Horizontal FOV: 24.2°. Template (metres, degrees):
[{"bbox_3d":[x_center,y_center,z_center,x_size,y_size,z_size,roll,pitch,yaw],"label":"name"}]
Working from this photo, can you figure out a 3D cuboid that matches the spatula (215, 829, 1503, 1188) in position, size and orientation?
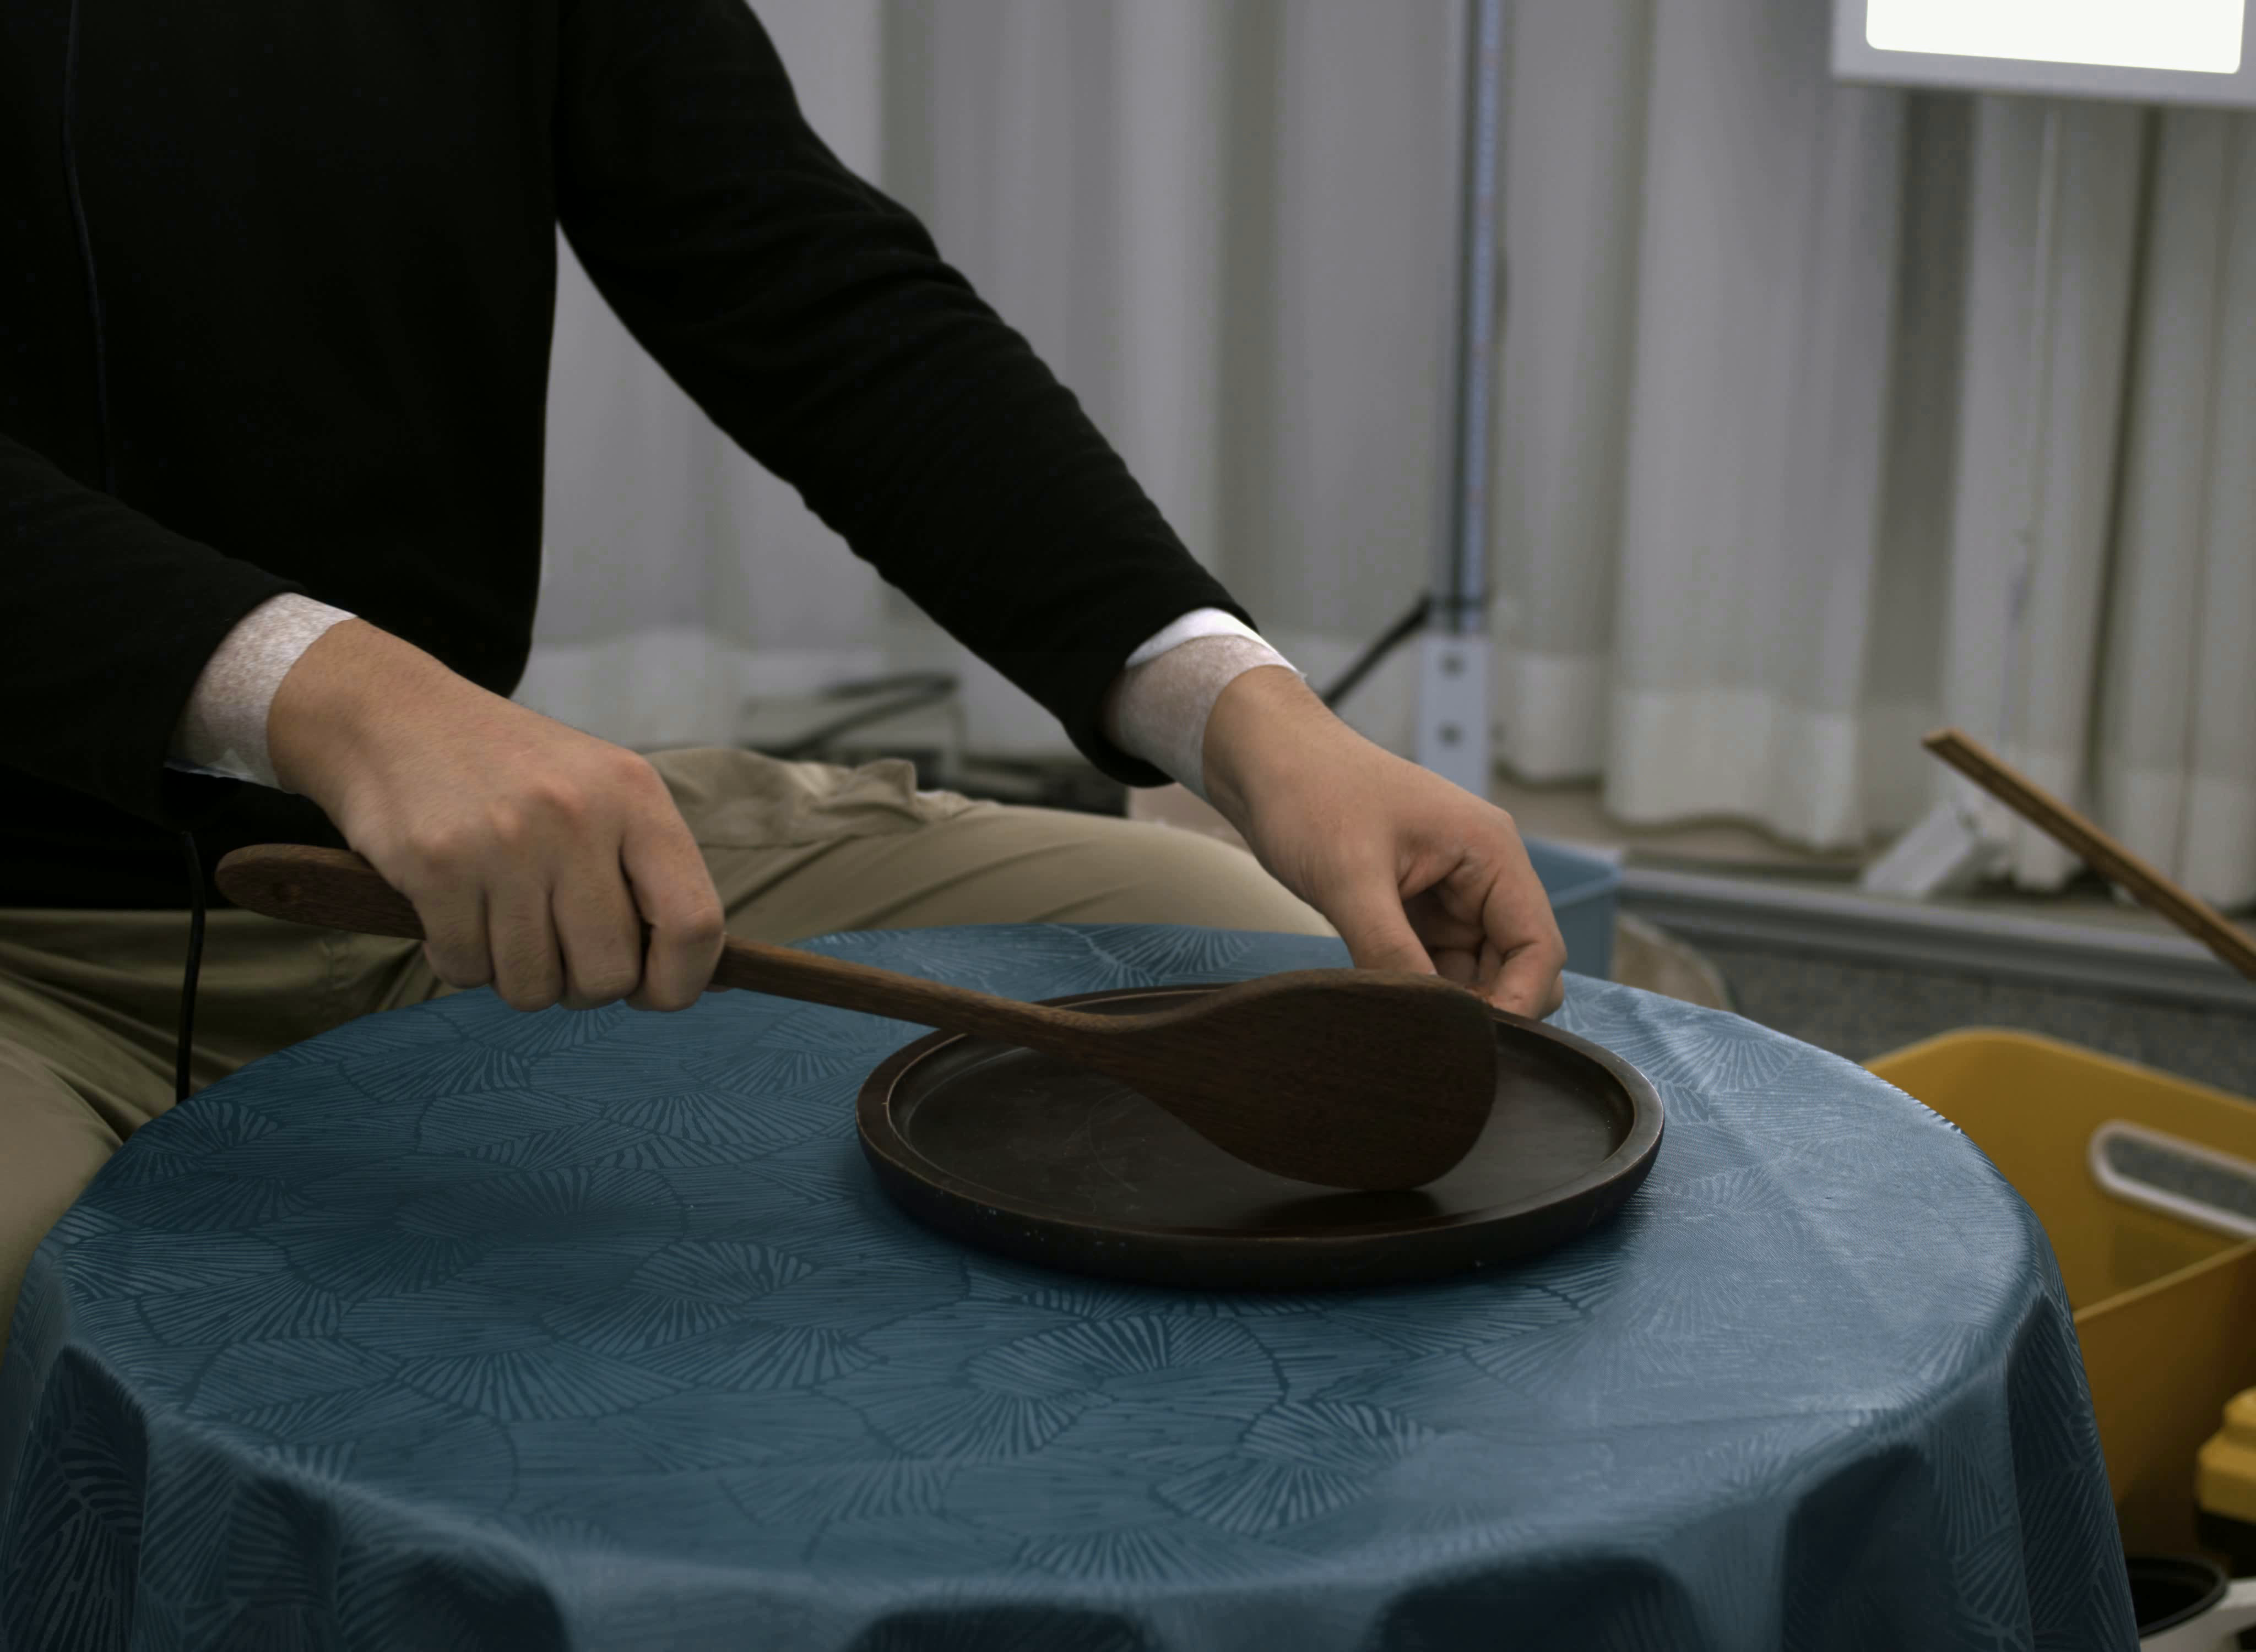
[{"bbox_3d":[-0.080,0.045,1.553,0.385,0.097,0.015,11,46,1],"label":"spatula"}]

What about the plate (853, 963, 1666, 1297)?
[{"bbox_3d":[0.041,0.095,1.639,0.254,0.029,0.253,-1,16,1],"label":"plate"}]
